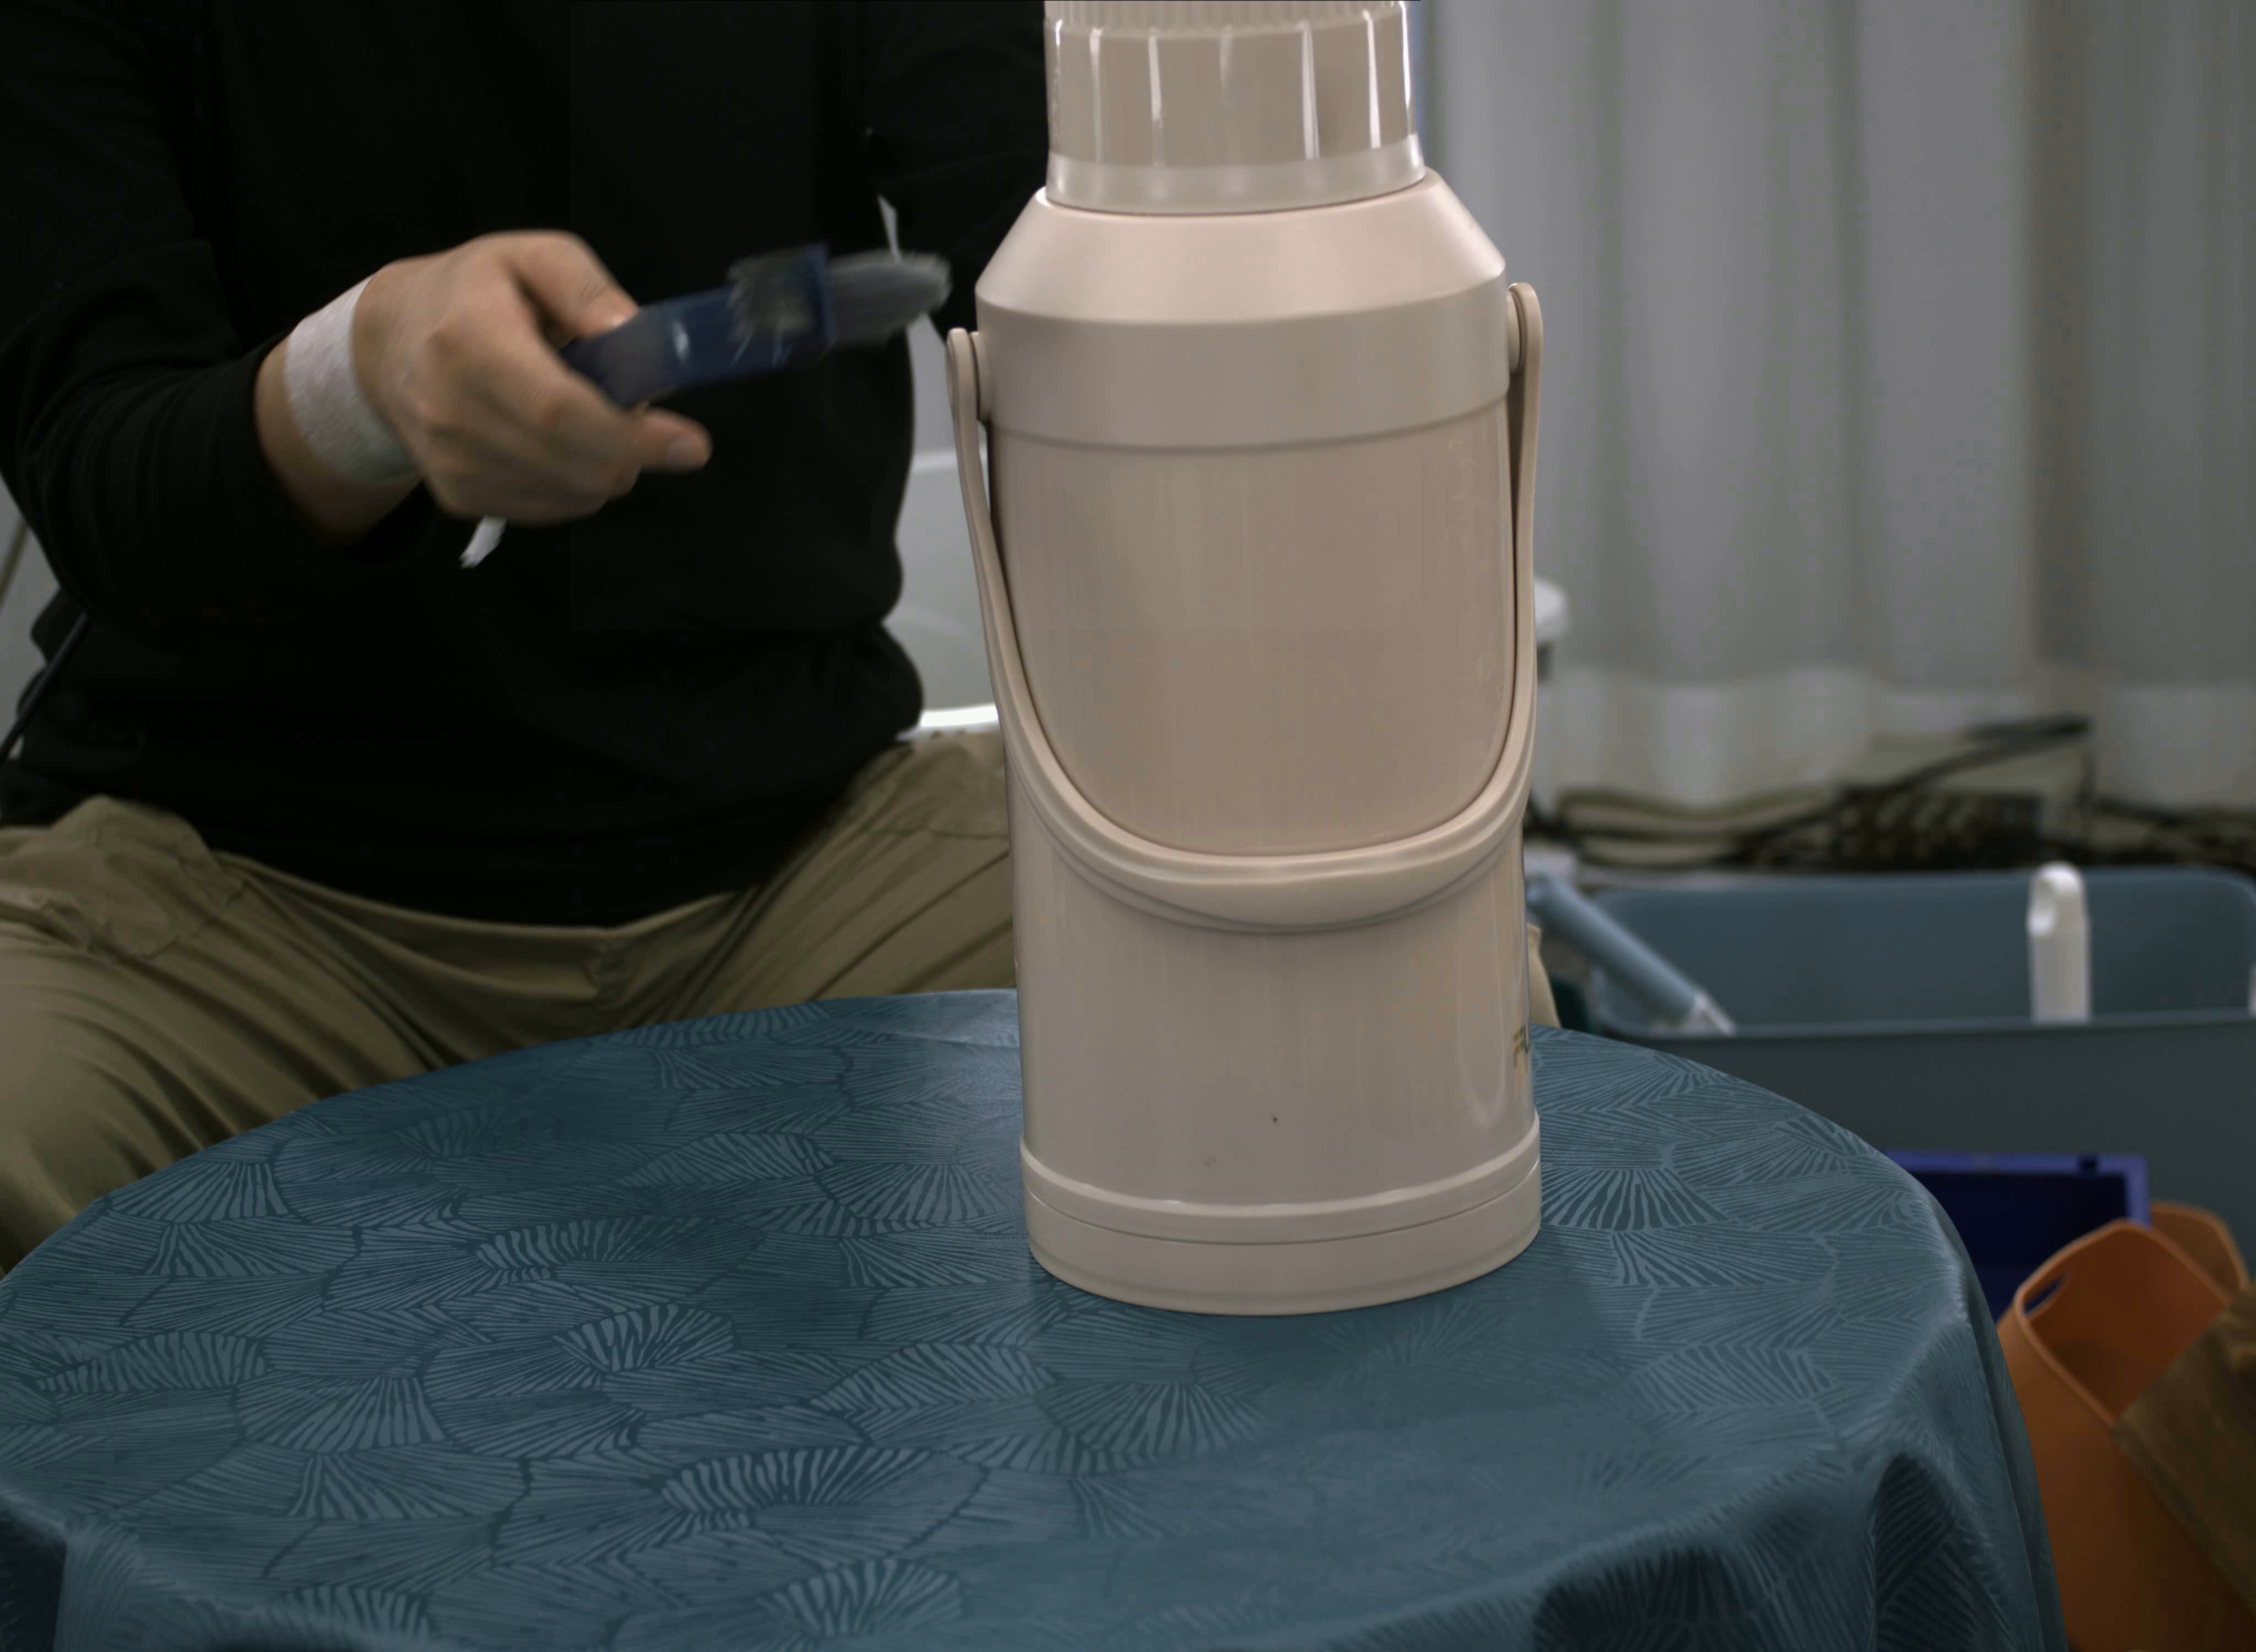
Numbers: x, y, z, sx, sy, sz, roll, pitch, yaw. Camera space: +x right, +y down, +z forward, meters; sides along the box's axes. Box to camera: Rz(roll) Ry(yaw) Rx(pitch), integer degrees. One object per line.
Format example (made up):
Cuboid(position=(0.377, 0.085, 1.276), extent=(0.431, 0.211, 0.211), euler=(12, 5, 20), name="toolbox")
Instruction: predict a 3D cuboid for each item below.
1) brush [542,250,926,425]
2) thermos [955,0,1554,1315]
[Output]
Cuboid(position=(-0.138, -0.146, 1.620), extent=(0.095, 0.033, 0.273), euler=(-10, 2, -31), name="brush")
Cuboid(position=(0.039, -0.072, 1.643), extent=(0.174, 0.405, 0.208), euler=(-7, 14, -9), name="thermos")
